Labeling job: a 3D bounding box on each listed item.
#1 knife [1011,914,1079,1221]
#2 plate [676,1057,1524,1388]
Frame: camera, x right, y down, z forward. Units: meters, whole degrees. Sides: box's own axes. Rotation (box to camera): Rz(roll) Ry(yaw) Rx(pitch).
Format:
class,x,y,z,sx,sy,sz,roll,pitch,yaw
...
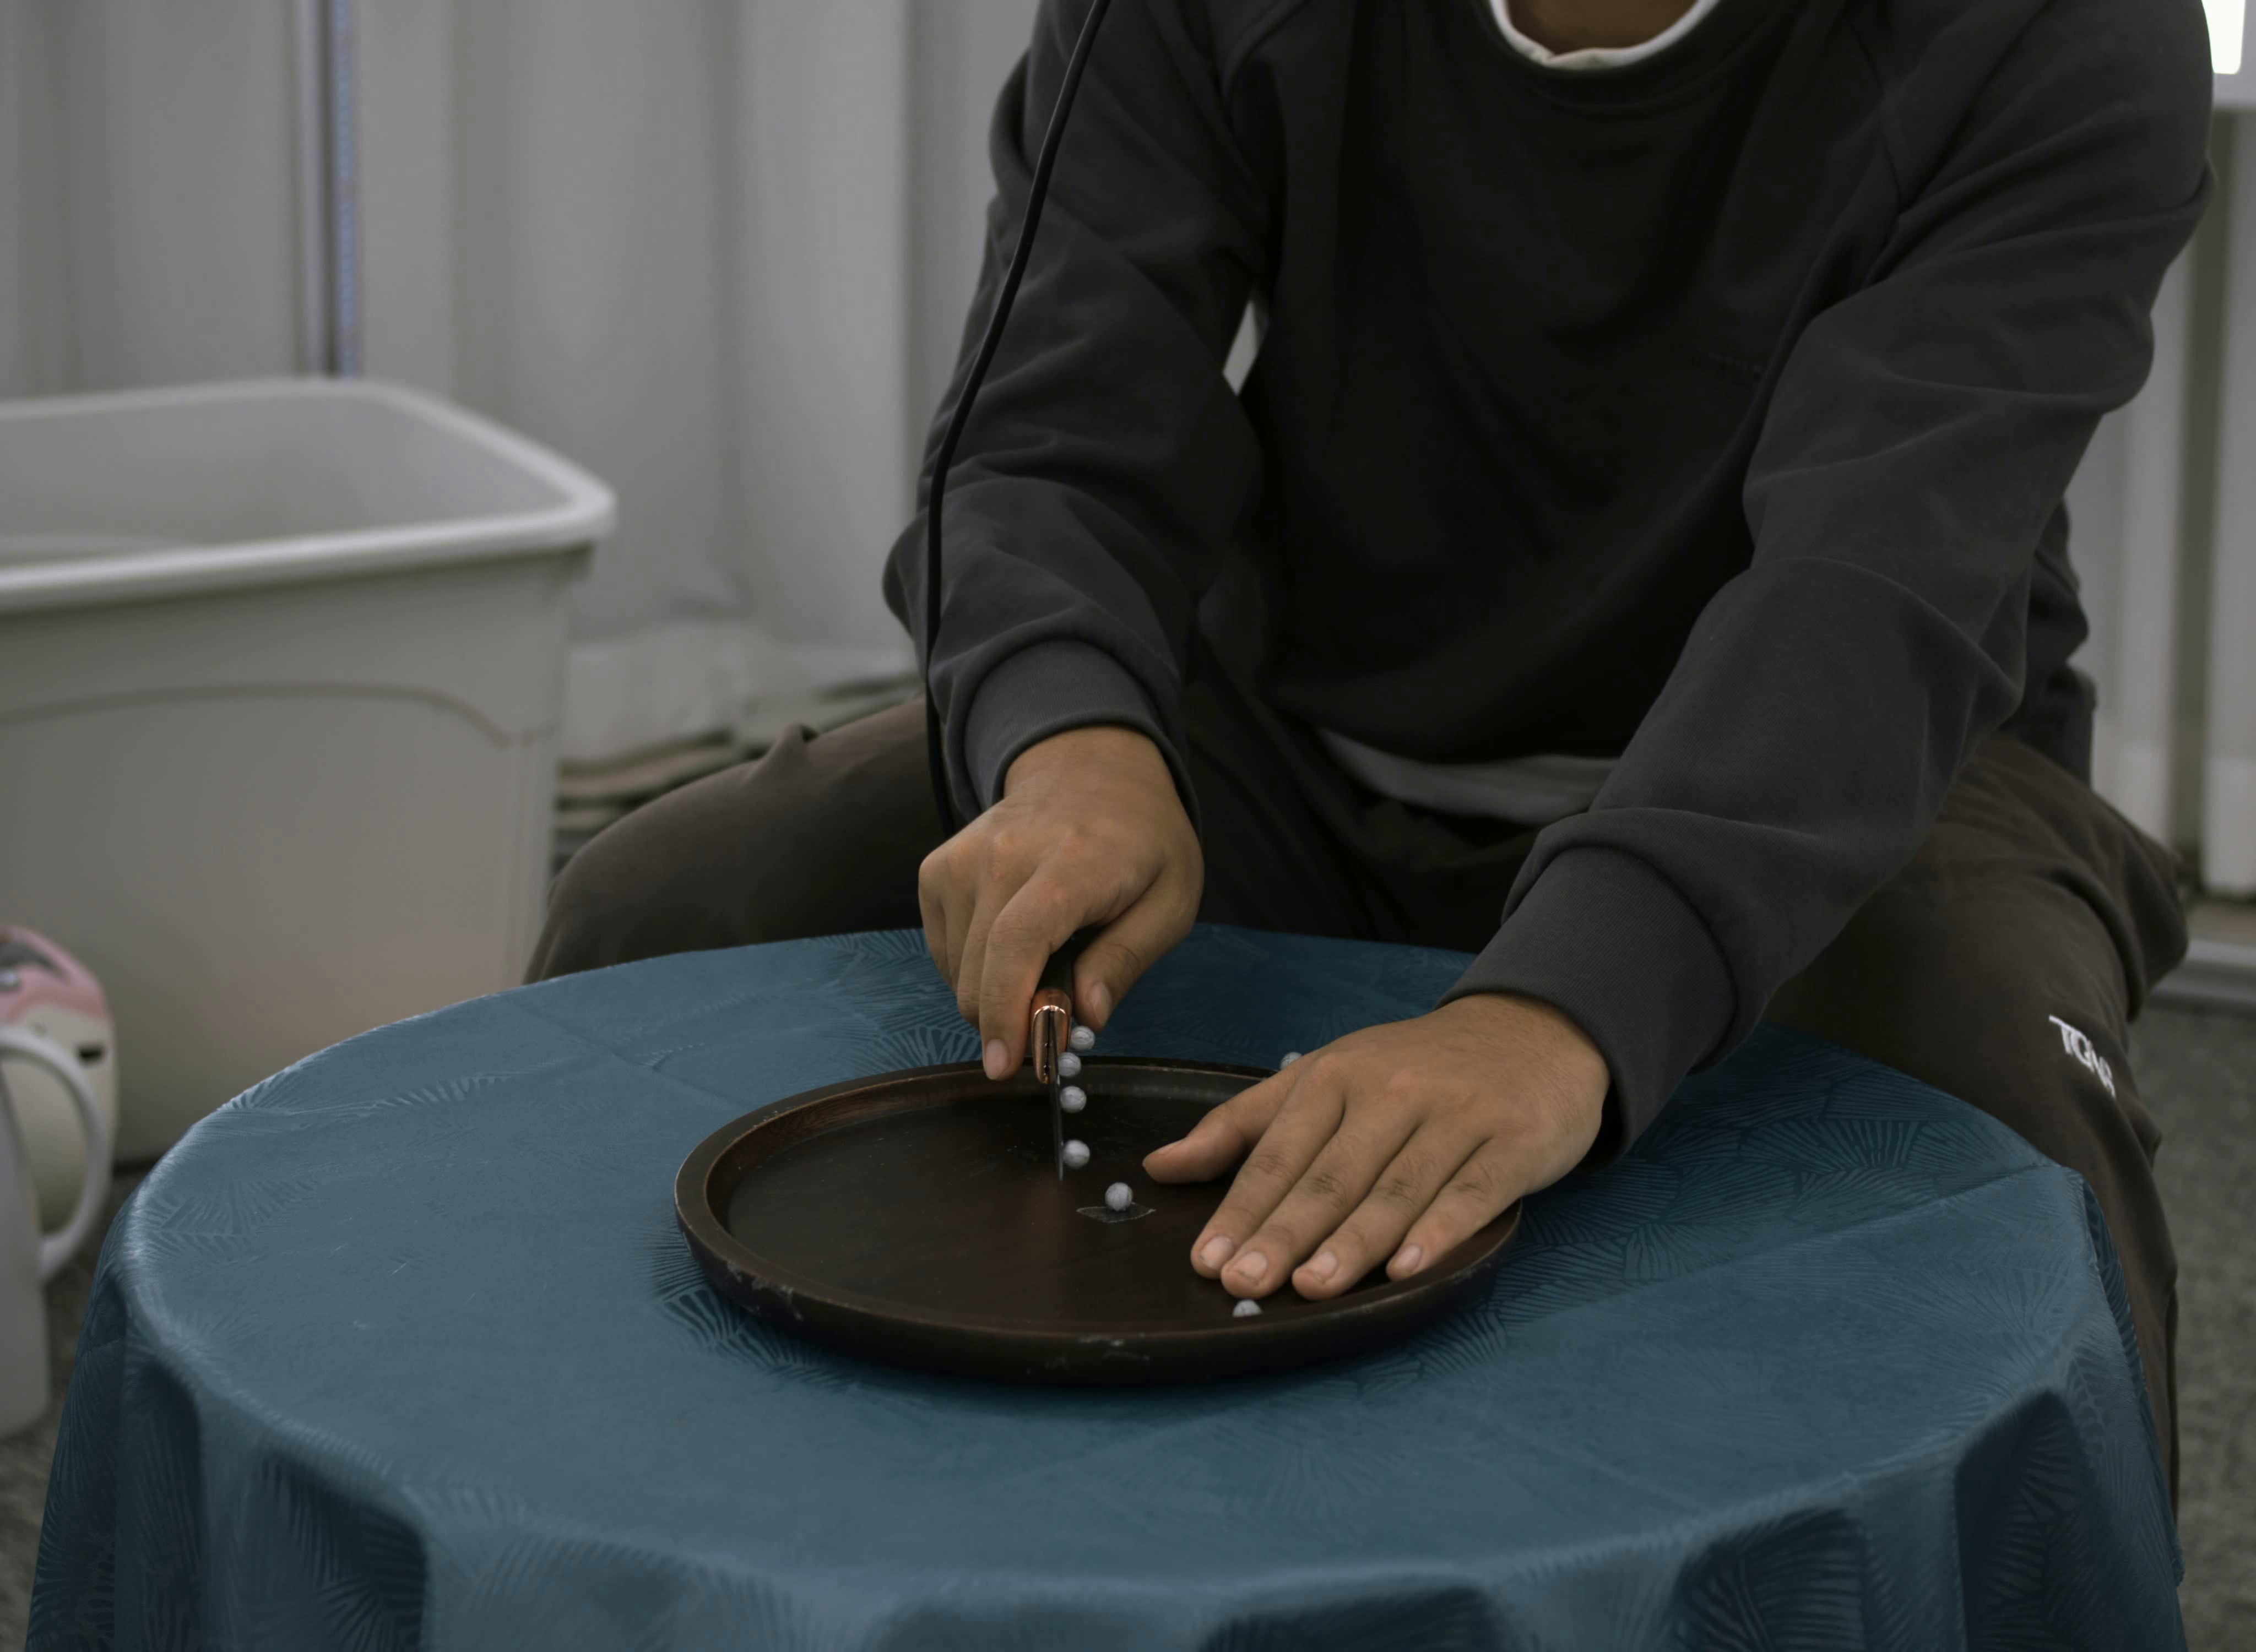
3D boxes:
class,x,y,z,sx,sy,sz,roll,pitch,yaw
knife,-0.024,0.071,1.626,0.017,0.026,0.224,-1,18,-4
plate,-0.008,0.116,1.571,0.254,0.029,0.253,0,14,0
